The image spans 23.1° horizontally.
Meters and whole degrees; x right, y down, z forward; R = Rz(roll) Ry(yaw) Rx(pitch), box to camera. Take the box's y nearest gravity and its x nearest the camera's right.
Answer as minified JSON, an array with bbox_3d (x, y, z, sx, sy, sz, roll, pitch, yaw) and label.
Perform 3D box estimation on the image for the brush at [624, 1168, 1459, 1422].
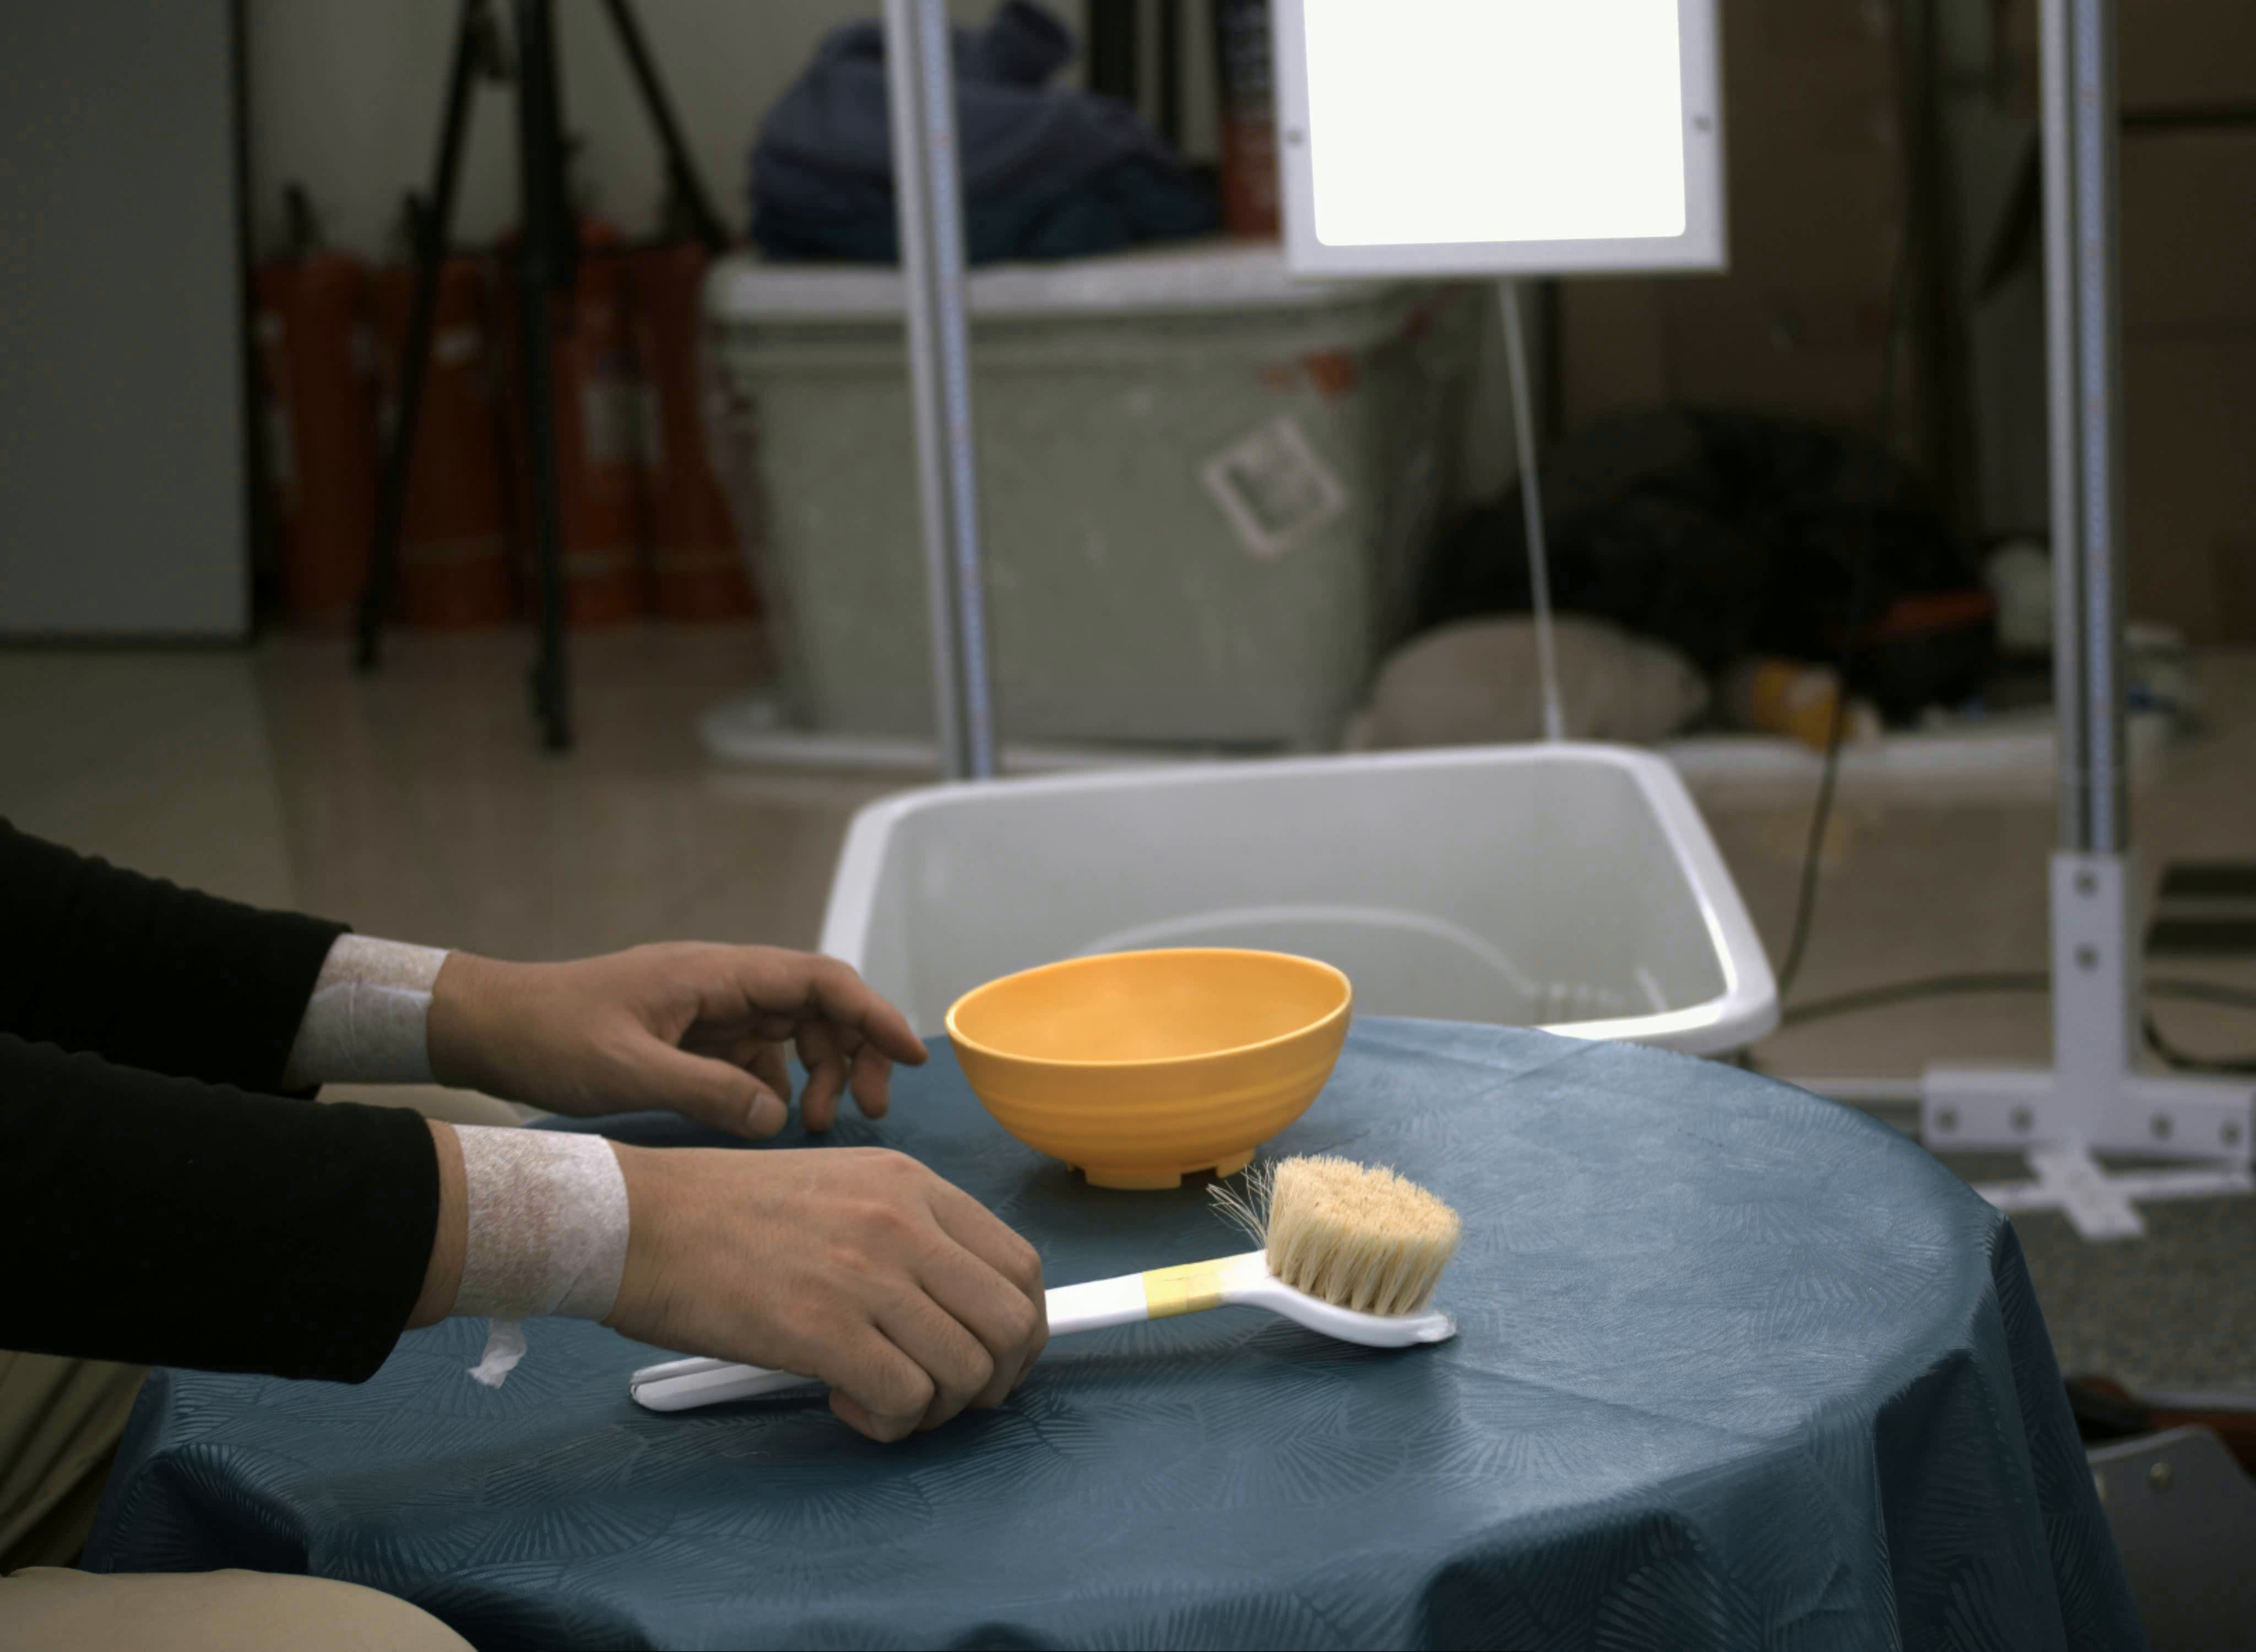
[{"bbox_3d":[-0.027,0.145,1.720,0.266,0.056,0.068,-6,9,1],"label":"brush"}]

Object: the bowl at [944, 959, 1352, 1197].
[{"bbox_3d":[0.010,0.091,1.920,0.145,0.060,0.145,-7,12,0],"label":"bowl"}]
